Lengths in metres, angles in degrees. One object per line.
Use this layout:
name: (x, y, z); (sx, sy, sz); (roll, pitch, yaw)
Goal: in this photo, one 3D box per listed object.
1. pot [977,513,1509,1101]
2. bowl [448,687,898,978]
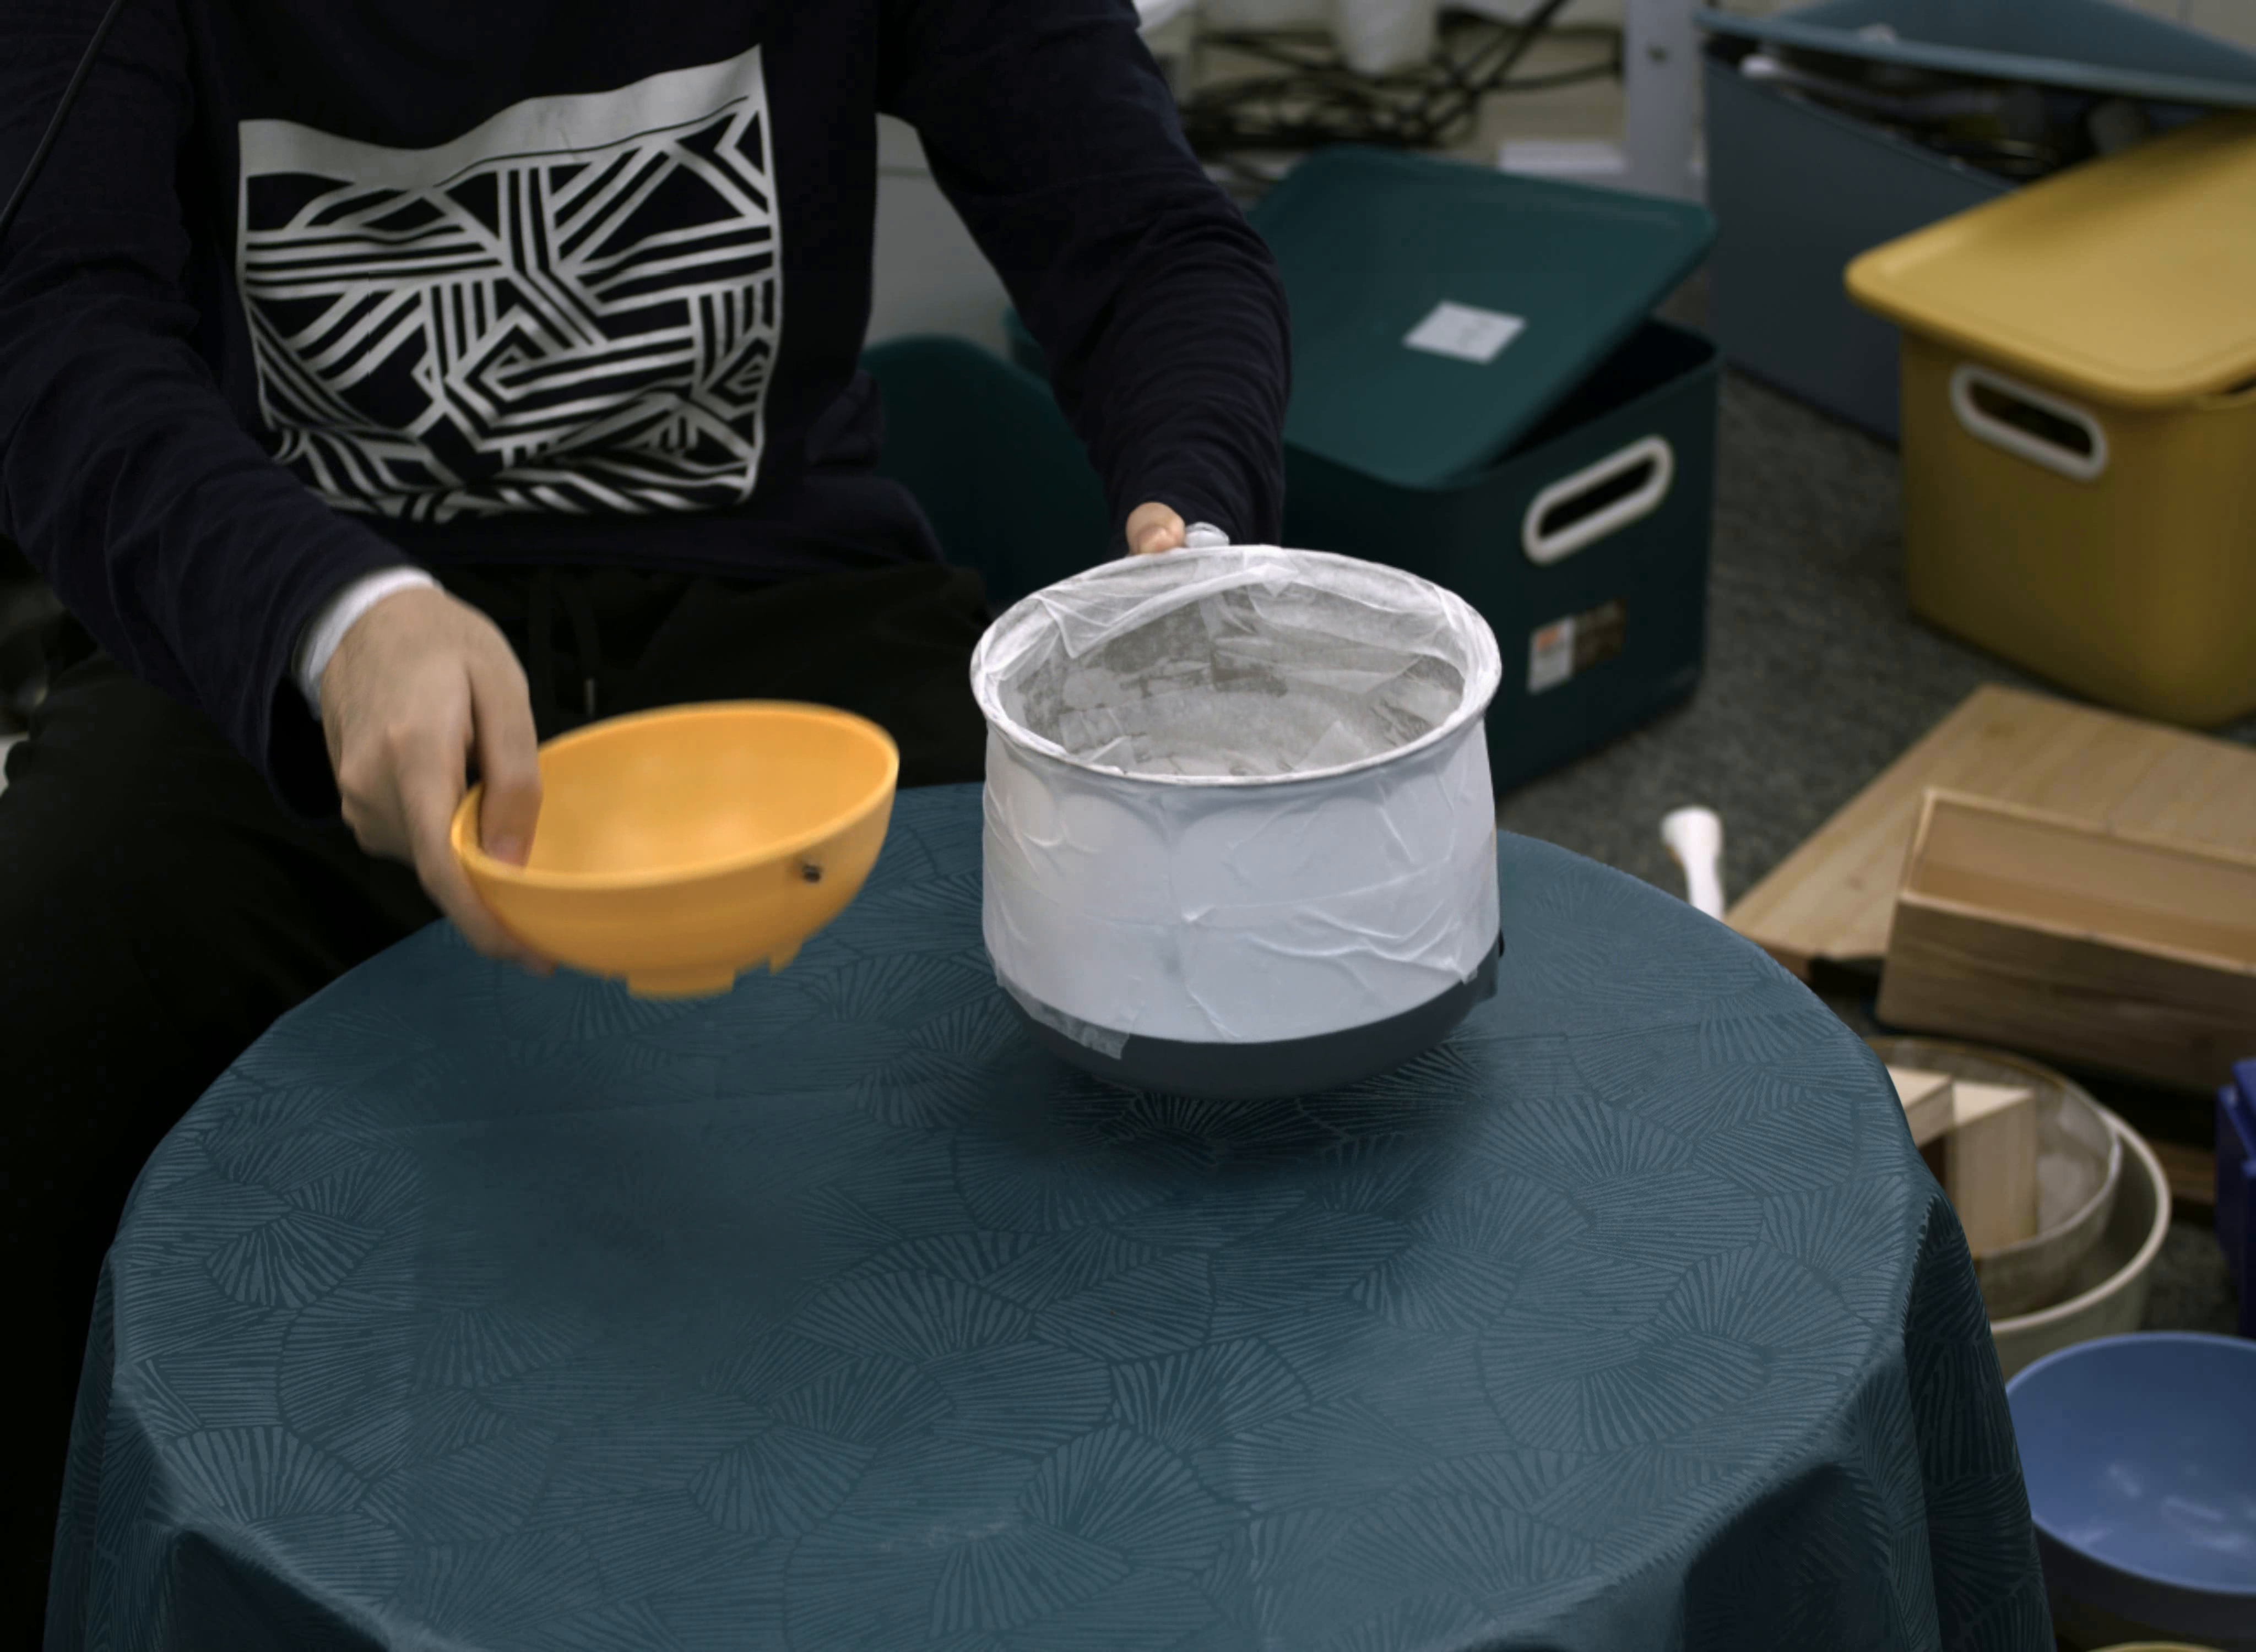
pot: (0.033, -0.014, 1.916); (0.178, 0.135, 0.237); (-2, 28, -8)
bowl: (-0.142, 0.009, 1.801); (0.144, 0.059, 0.147); (-5, 22, 2)
